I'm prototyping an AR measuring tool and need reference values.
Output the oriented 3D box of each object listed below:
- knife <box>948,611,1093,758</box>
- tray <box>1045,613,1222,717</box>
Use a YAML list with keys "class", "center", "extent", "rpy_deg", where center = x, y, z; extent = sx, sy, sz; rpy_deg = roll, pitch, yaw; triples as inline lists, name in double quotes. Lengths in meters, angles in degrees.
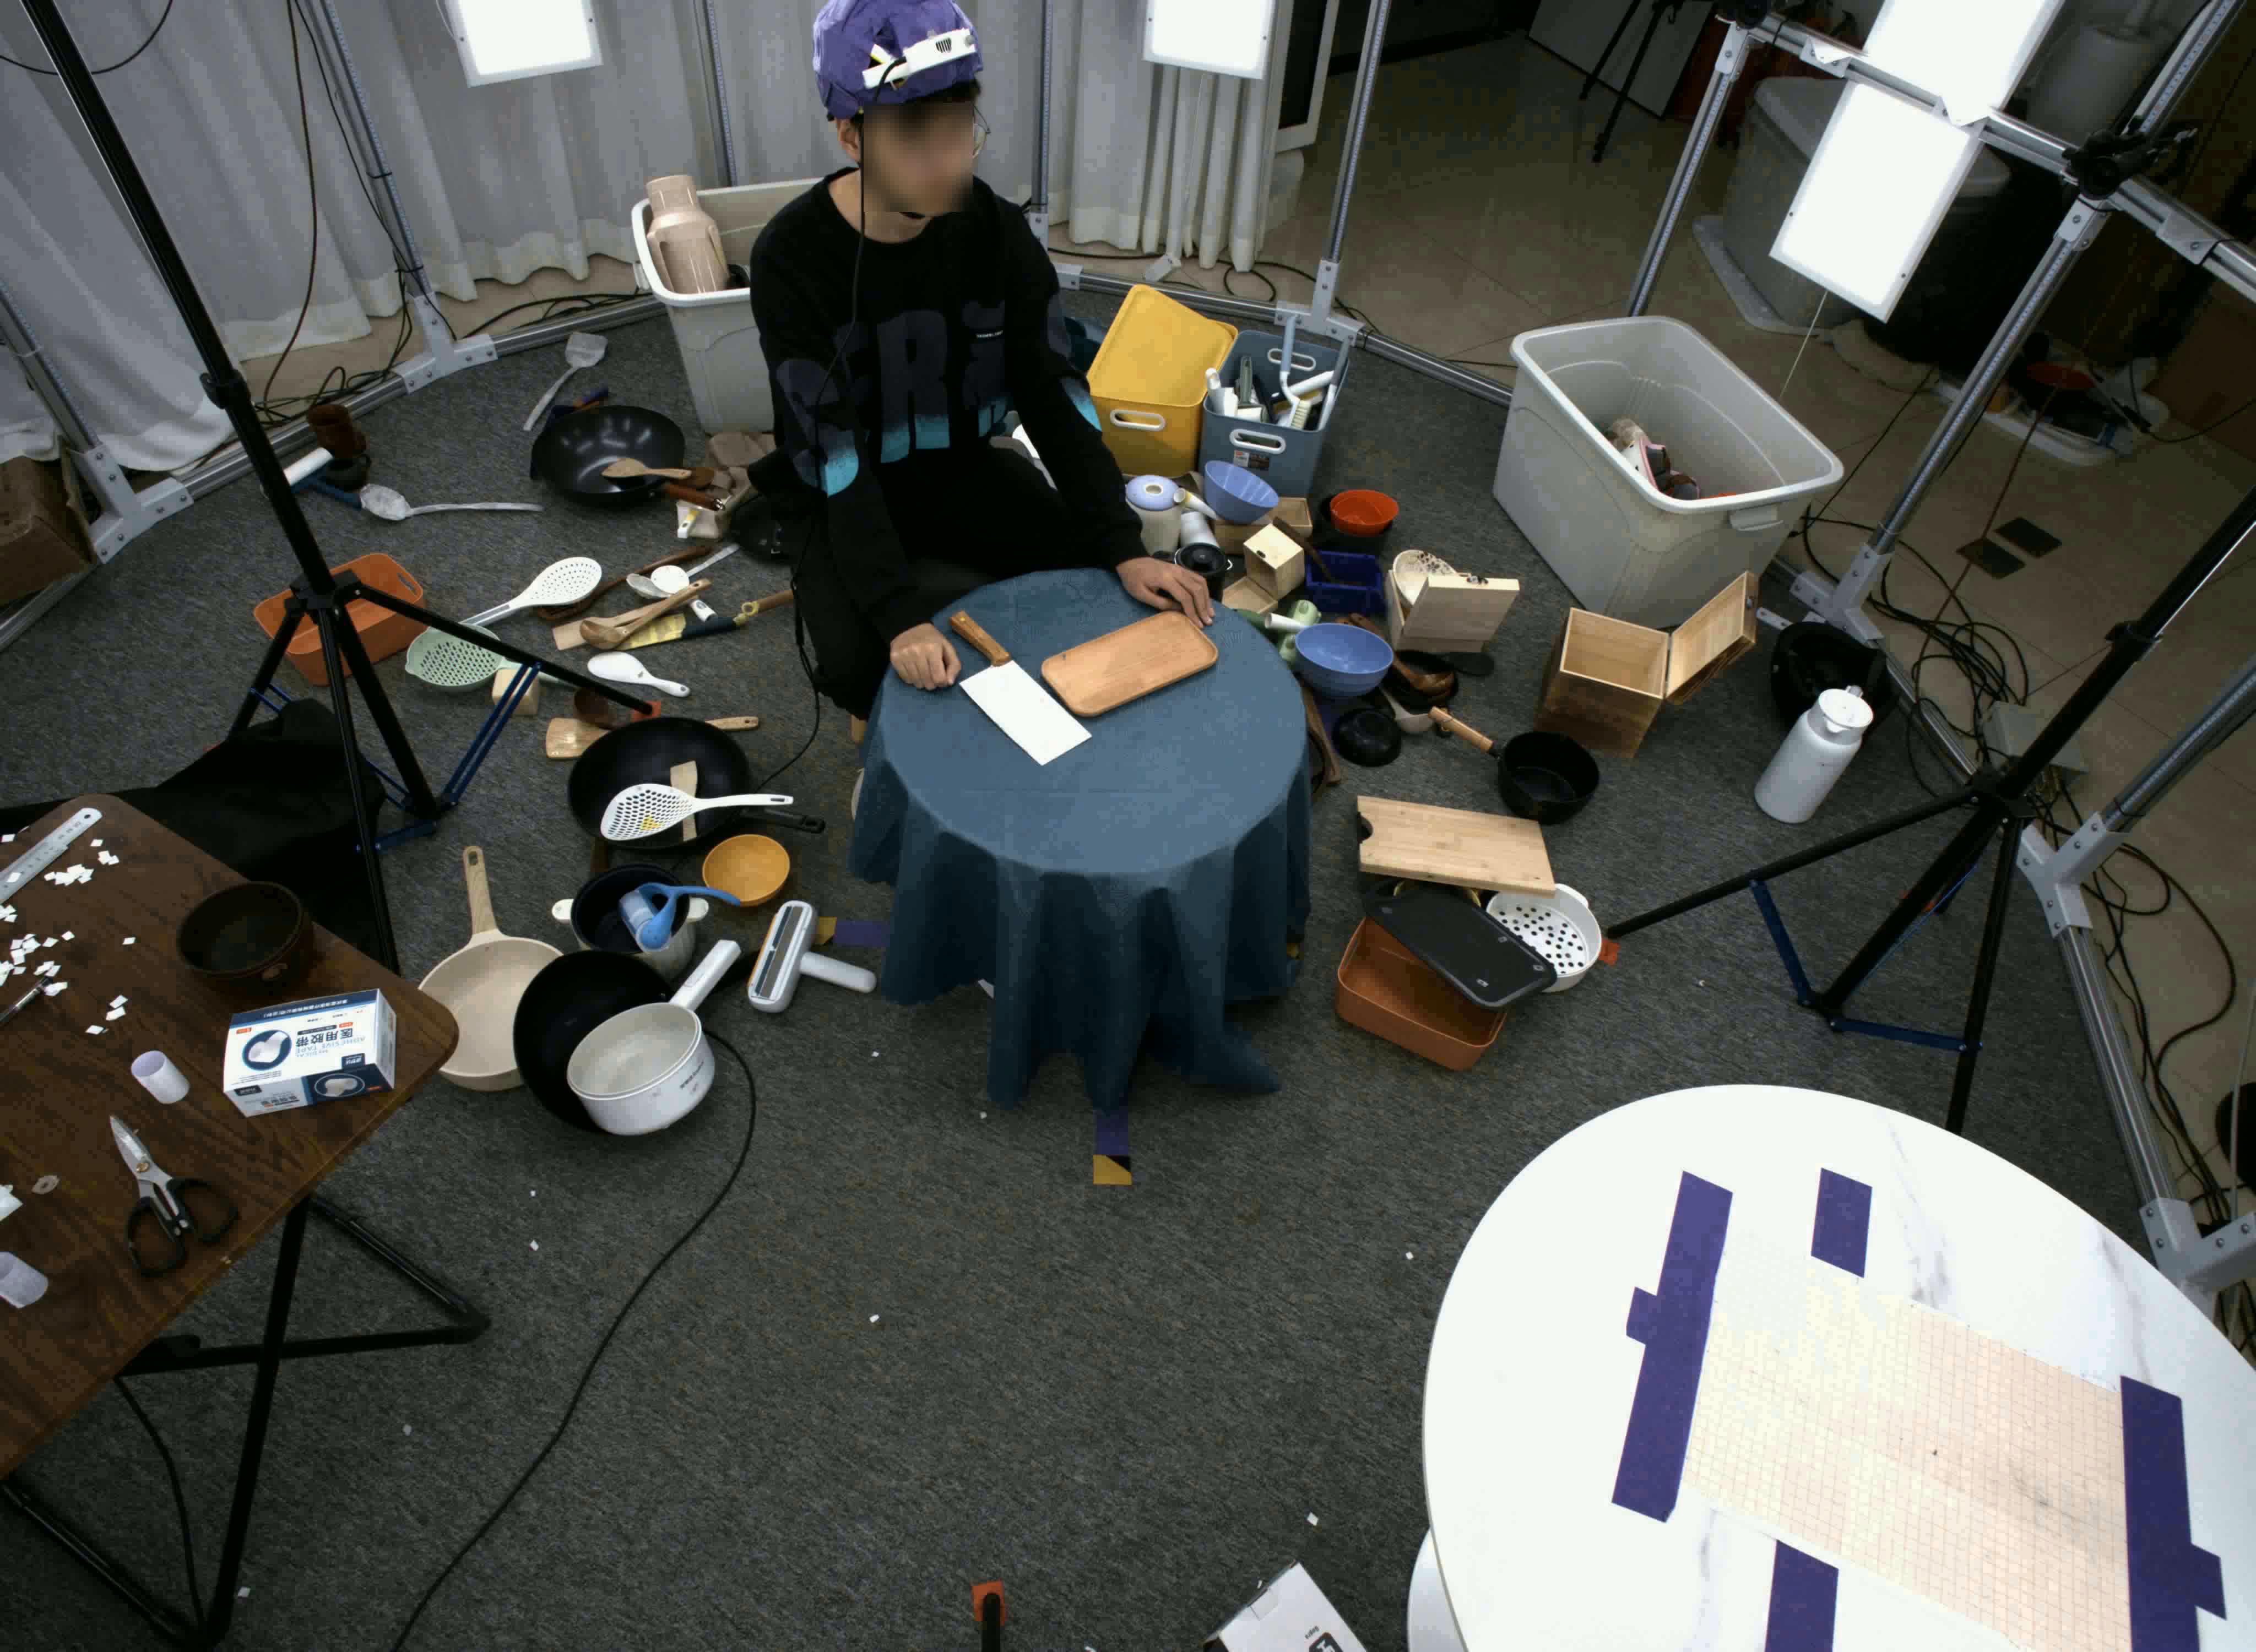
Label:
- class: "knife"
  center: [-0.175, -0.200, 1.821]
  extent: [0.093, 0.020, 0.311]
  rpy_deg: [-32, 60, -25]
- class: "tray"
  center: [0.009, -0.235, 1.863]
  extent: [0.251, 0.022, 0.133]
  rpy_deg: [-23, 56, -23]
